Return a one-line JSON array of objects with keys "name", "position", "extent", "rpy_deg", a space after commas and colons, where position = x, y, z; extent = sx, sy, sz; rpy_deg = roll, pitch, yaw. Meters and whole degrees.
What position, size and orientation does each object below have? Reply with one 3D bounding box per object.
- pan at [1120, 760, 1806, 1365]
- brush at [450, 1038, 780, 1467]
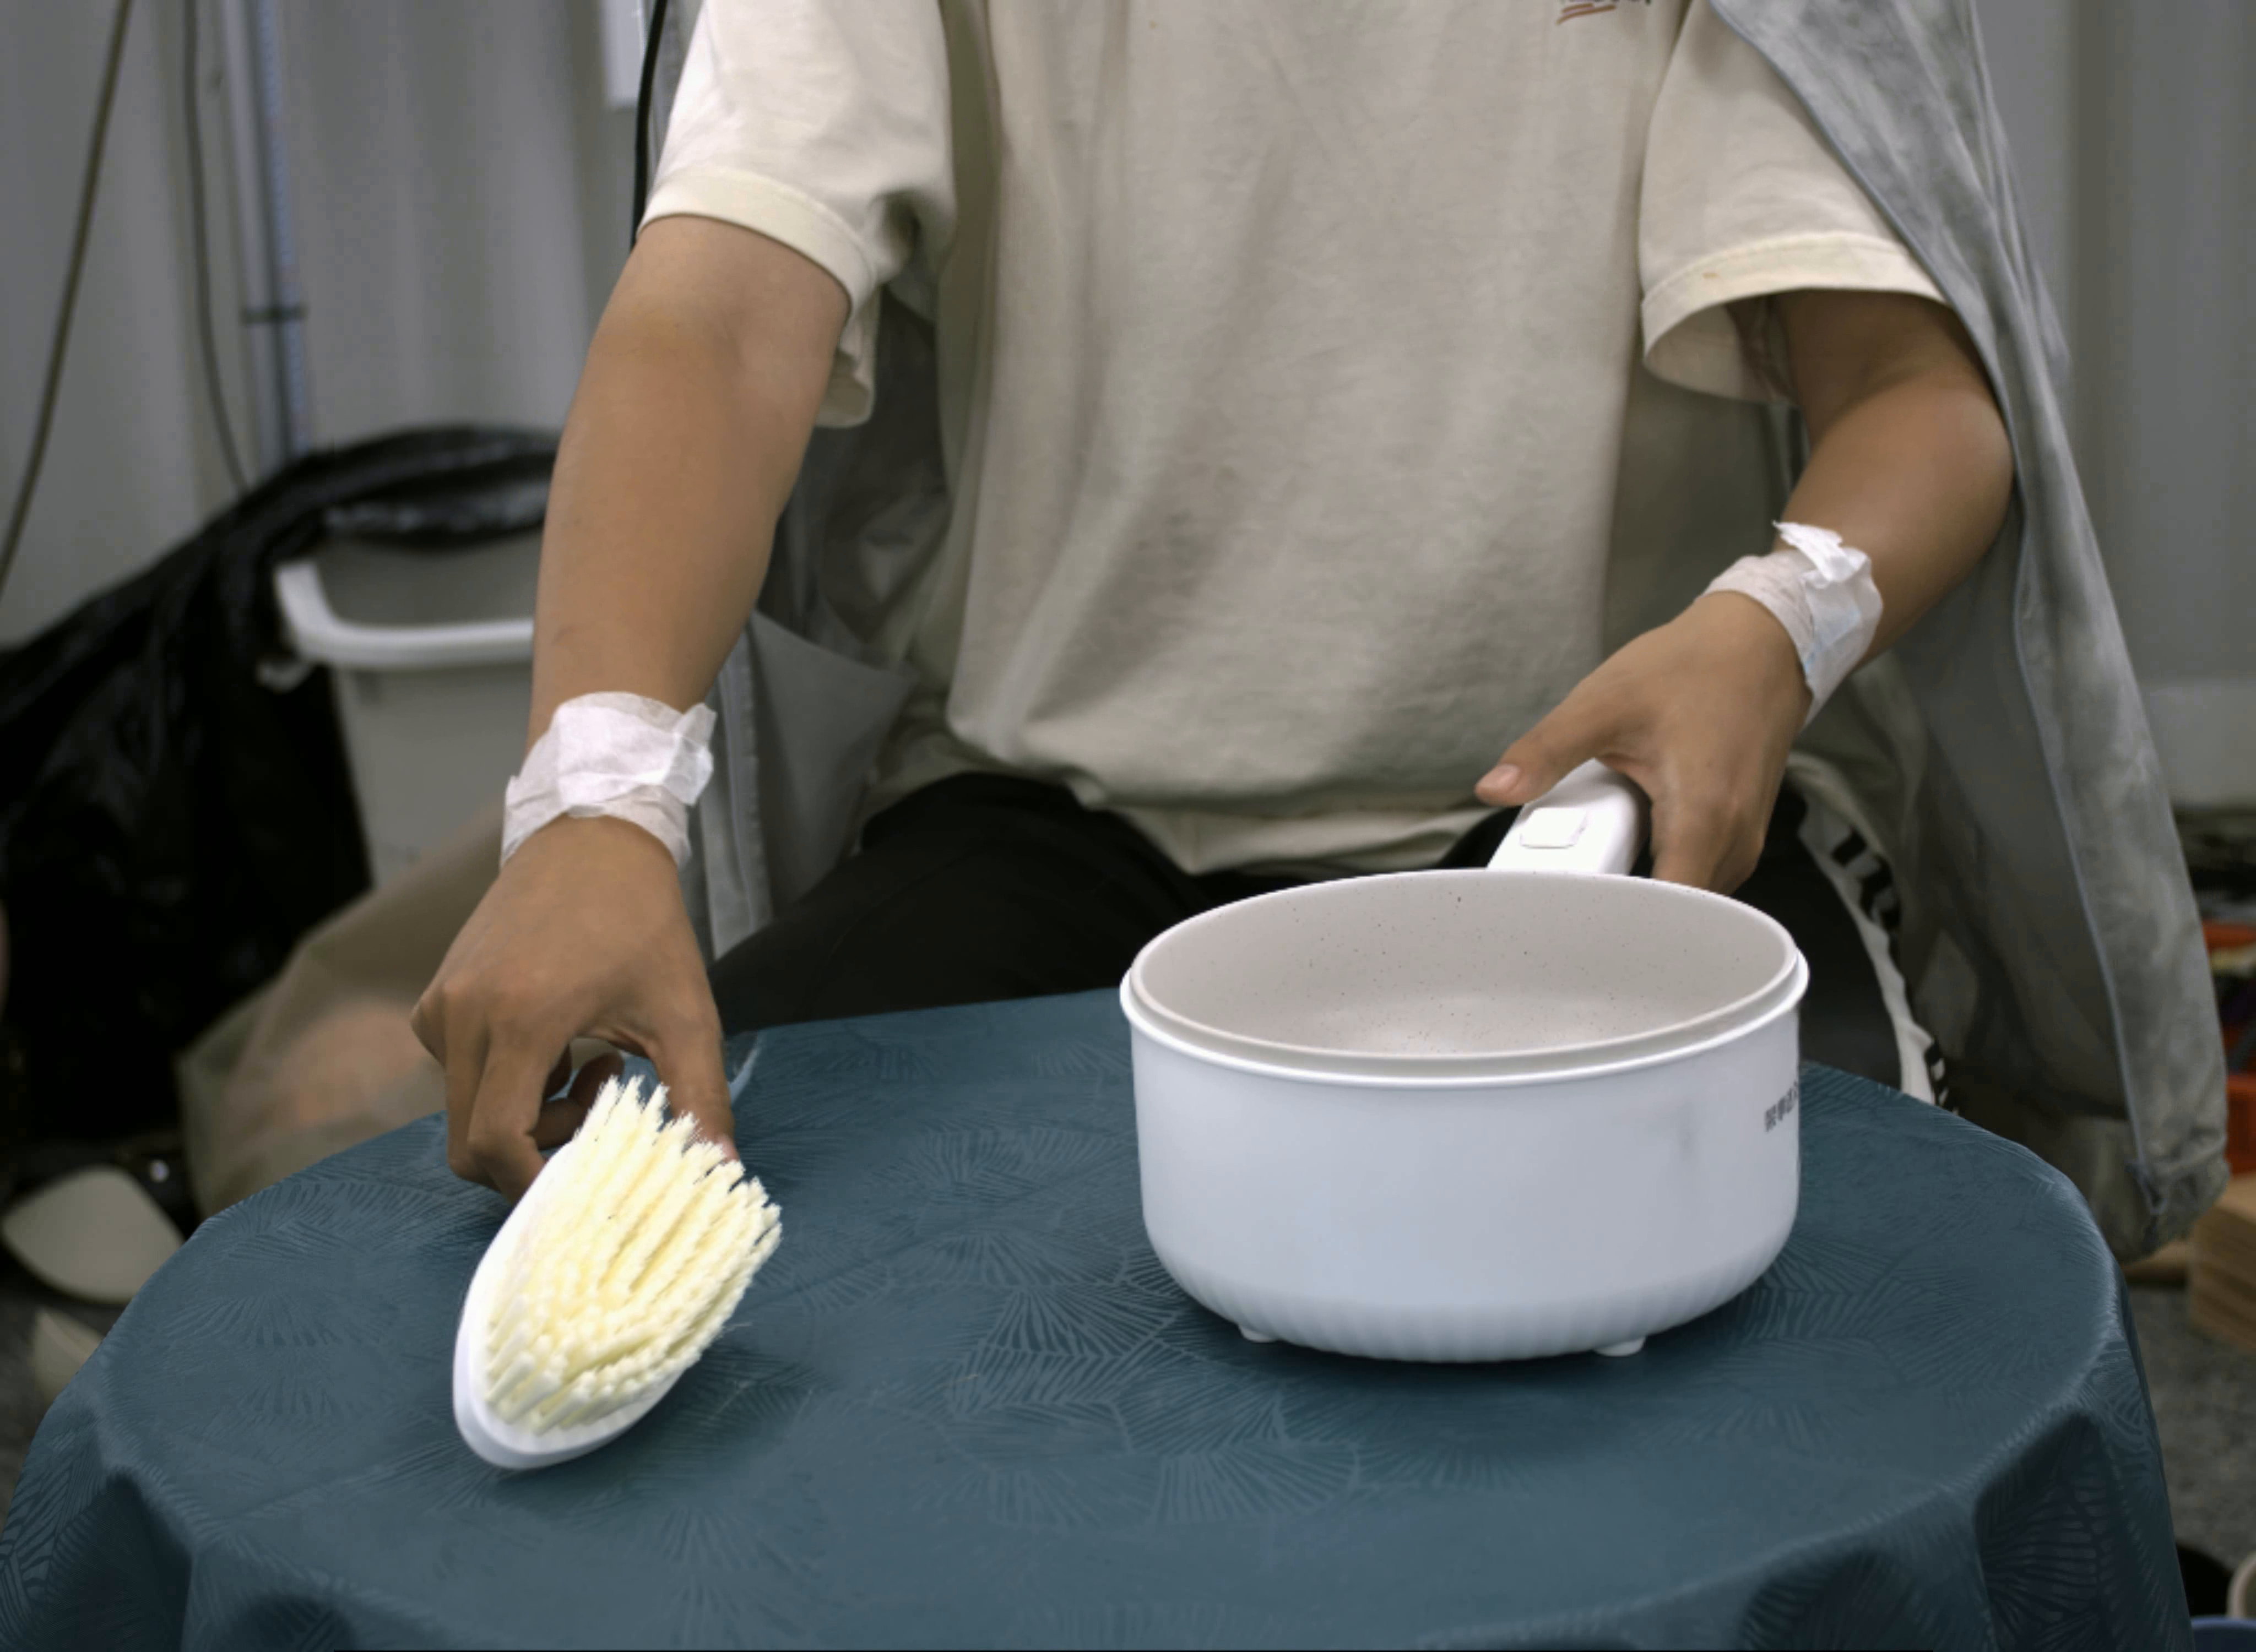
[{"name": "pan", "position": [0.118, 0.068, 1.682], "extent": [0.201, 0.102, 0.356], "rpy_deg": [1, 15, 14]}, {"name": "brush", "position": [-0.136, 0.100, 1.644], "extent": [0.084, 0.083, 0.327], "rpy_deg": [-6, 15, 10]}]
